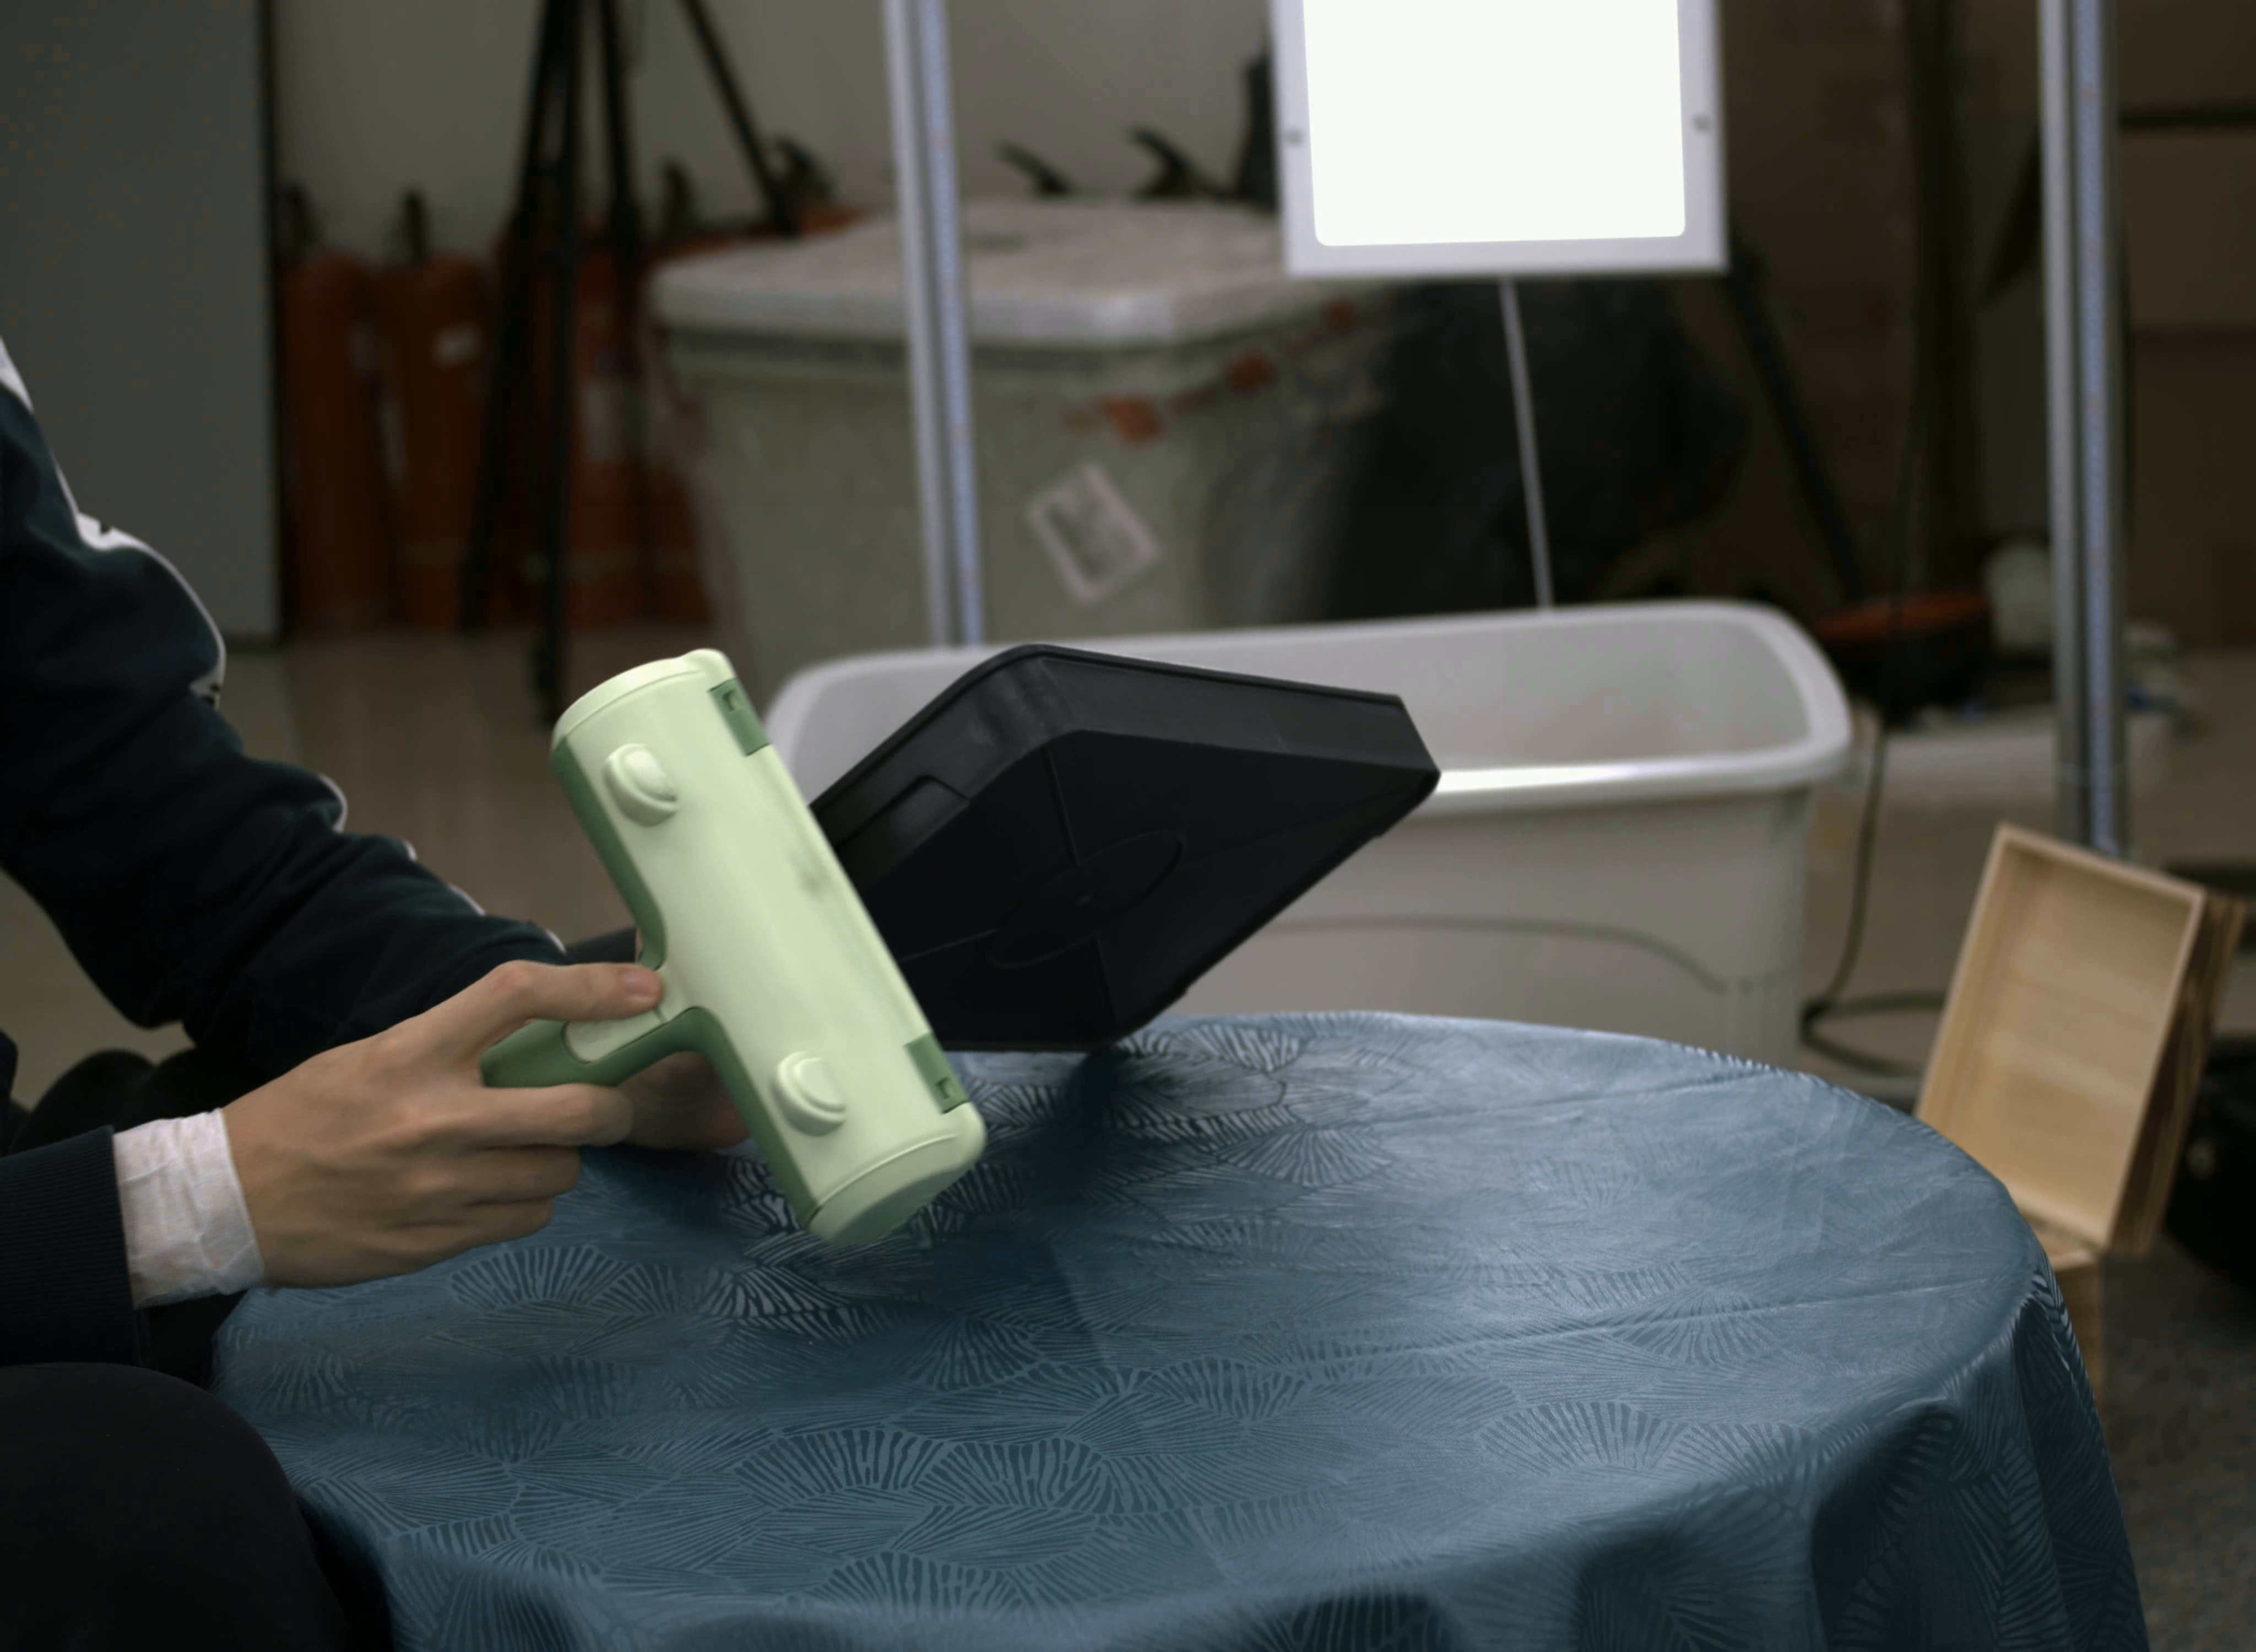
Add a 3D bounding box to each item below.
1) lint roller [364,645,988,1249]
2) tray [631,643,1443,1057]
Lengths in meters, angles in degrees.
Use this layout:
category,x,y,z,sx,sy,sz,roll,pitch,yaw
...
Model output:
category,x,y,z,sx,sy,sz,roll,pitch,yaw
lint roller,-0.166,0.063,1.753,0.182,0.199,0.082,-29,-15,-2
tray,-0.023,0.014,1.913,0.187,0.037,0.311,-39,-20,22
